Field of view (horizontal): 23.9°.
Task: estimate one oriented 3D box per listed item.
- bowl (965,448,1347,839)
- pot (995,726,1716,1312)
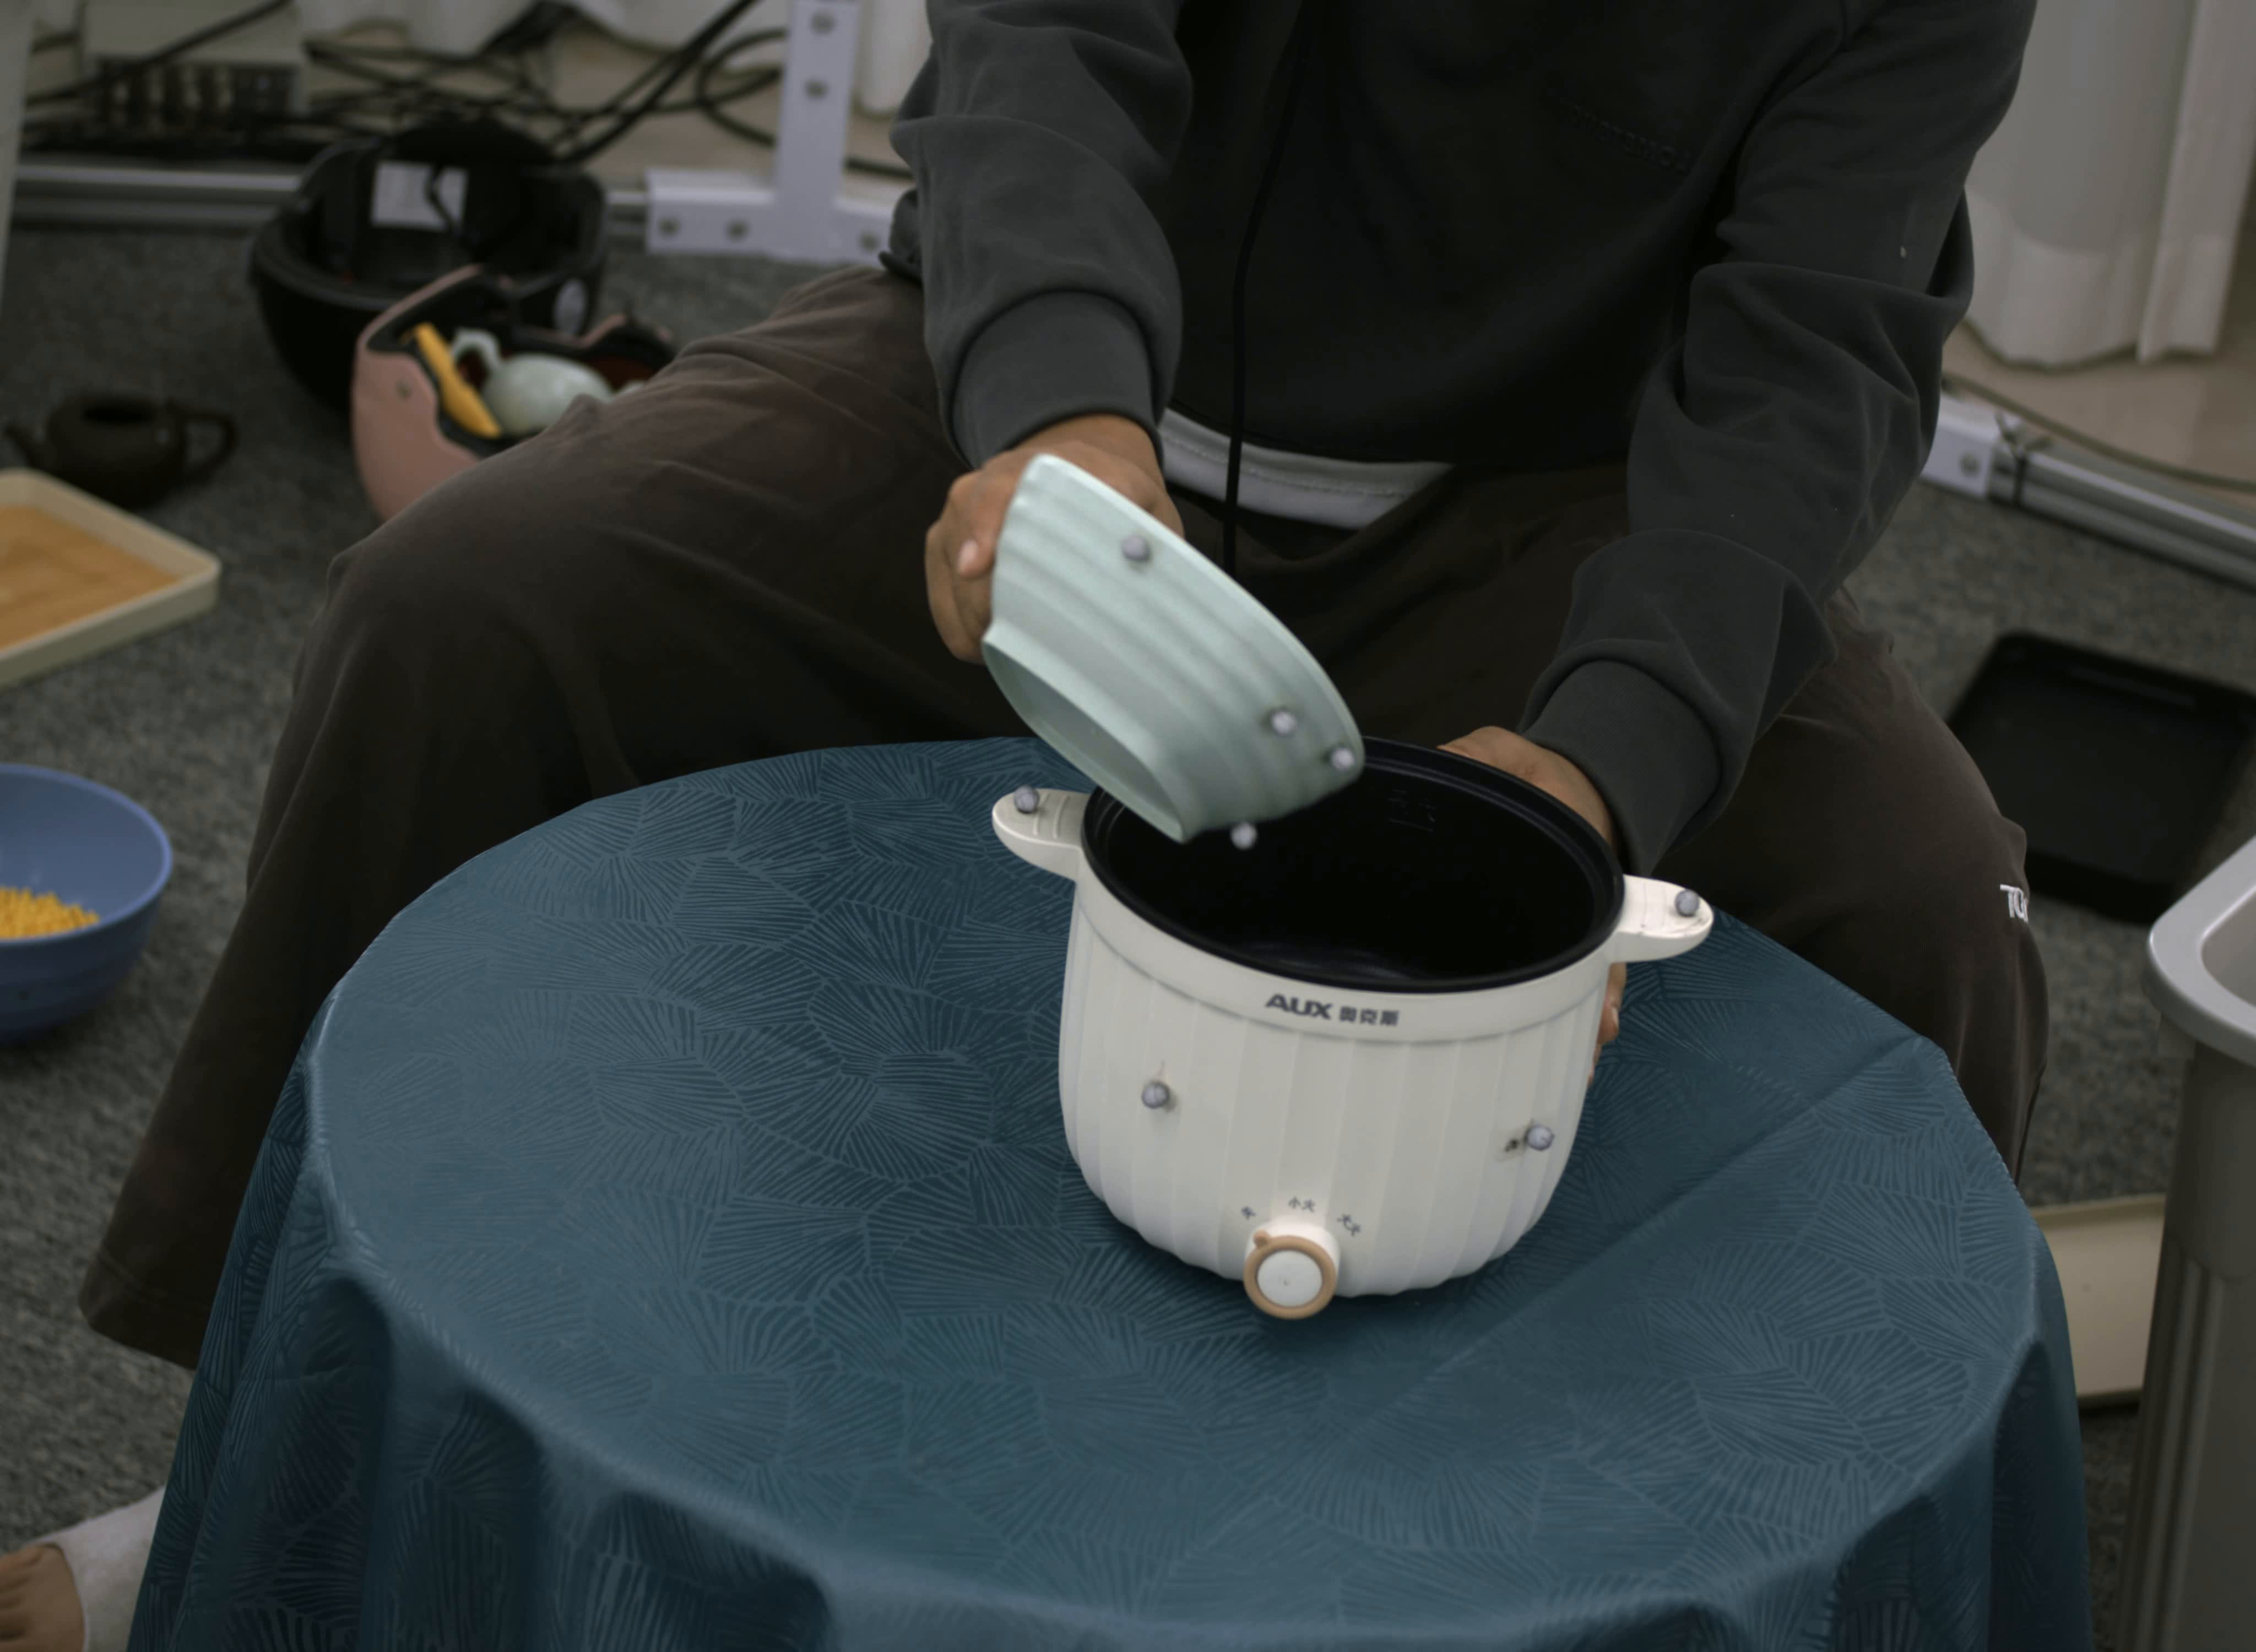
[{"bbox_3d":[0.000,-0.049,1.711,0.058,0.150,0.153,-47,47,-9],"label":"bowl"},{"bbox_3d":[0.069,0.067,1.779,0.240,0.142,0.191,6,23,2],"label":"pot"}]
